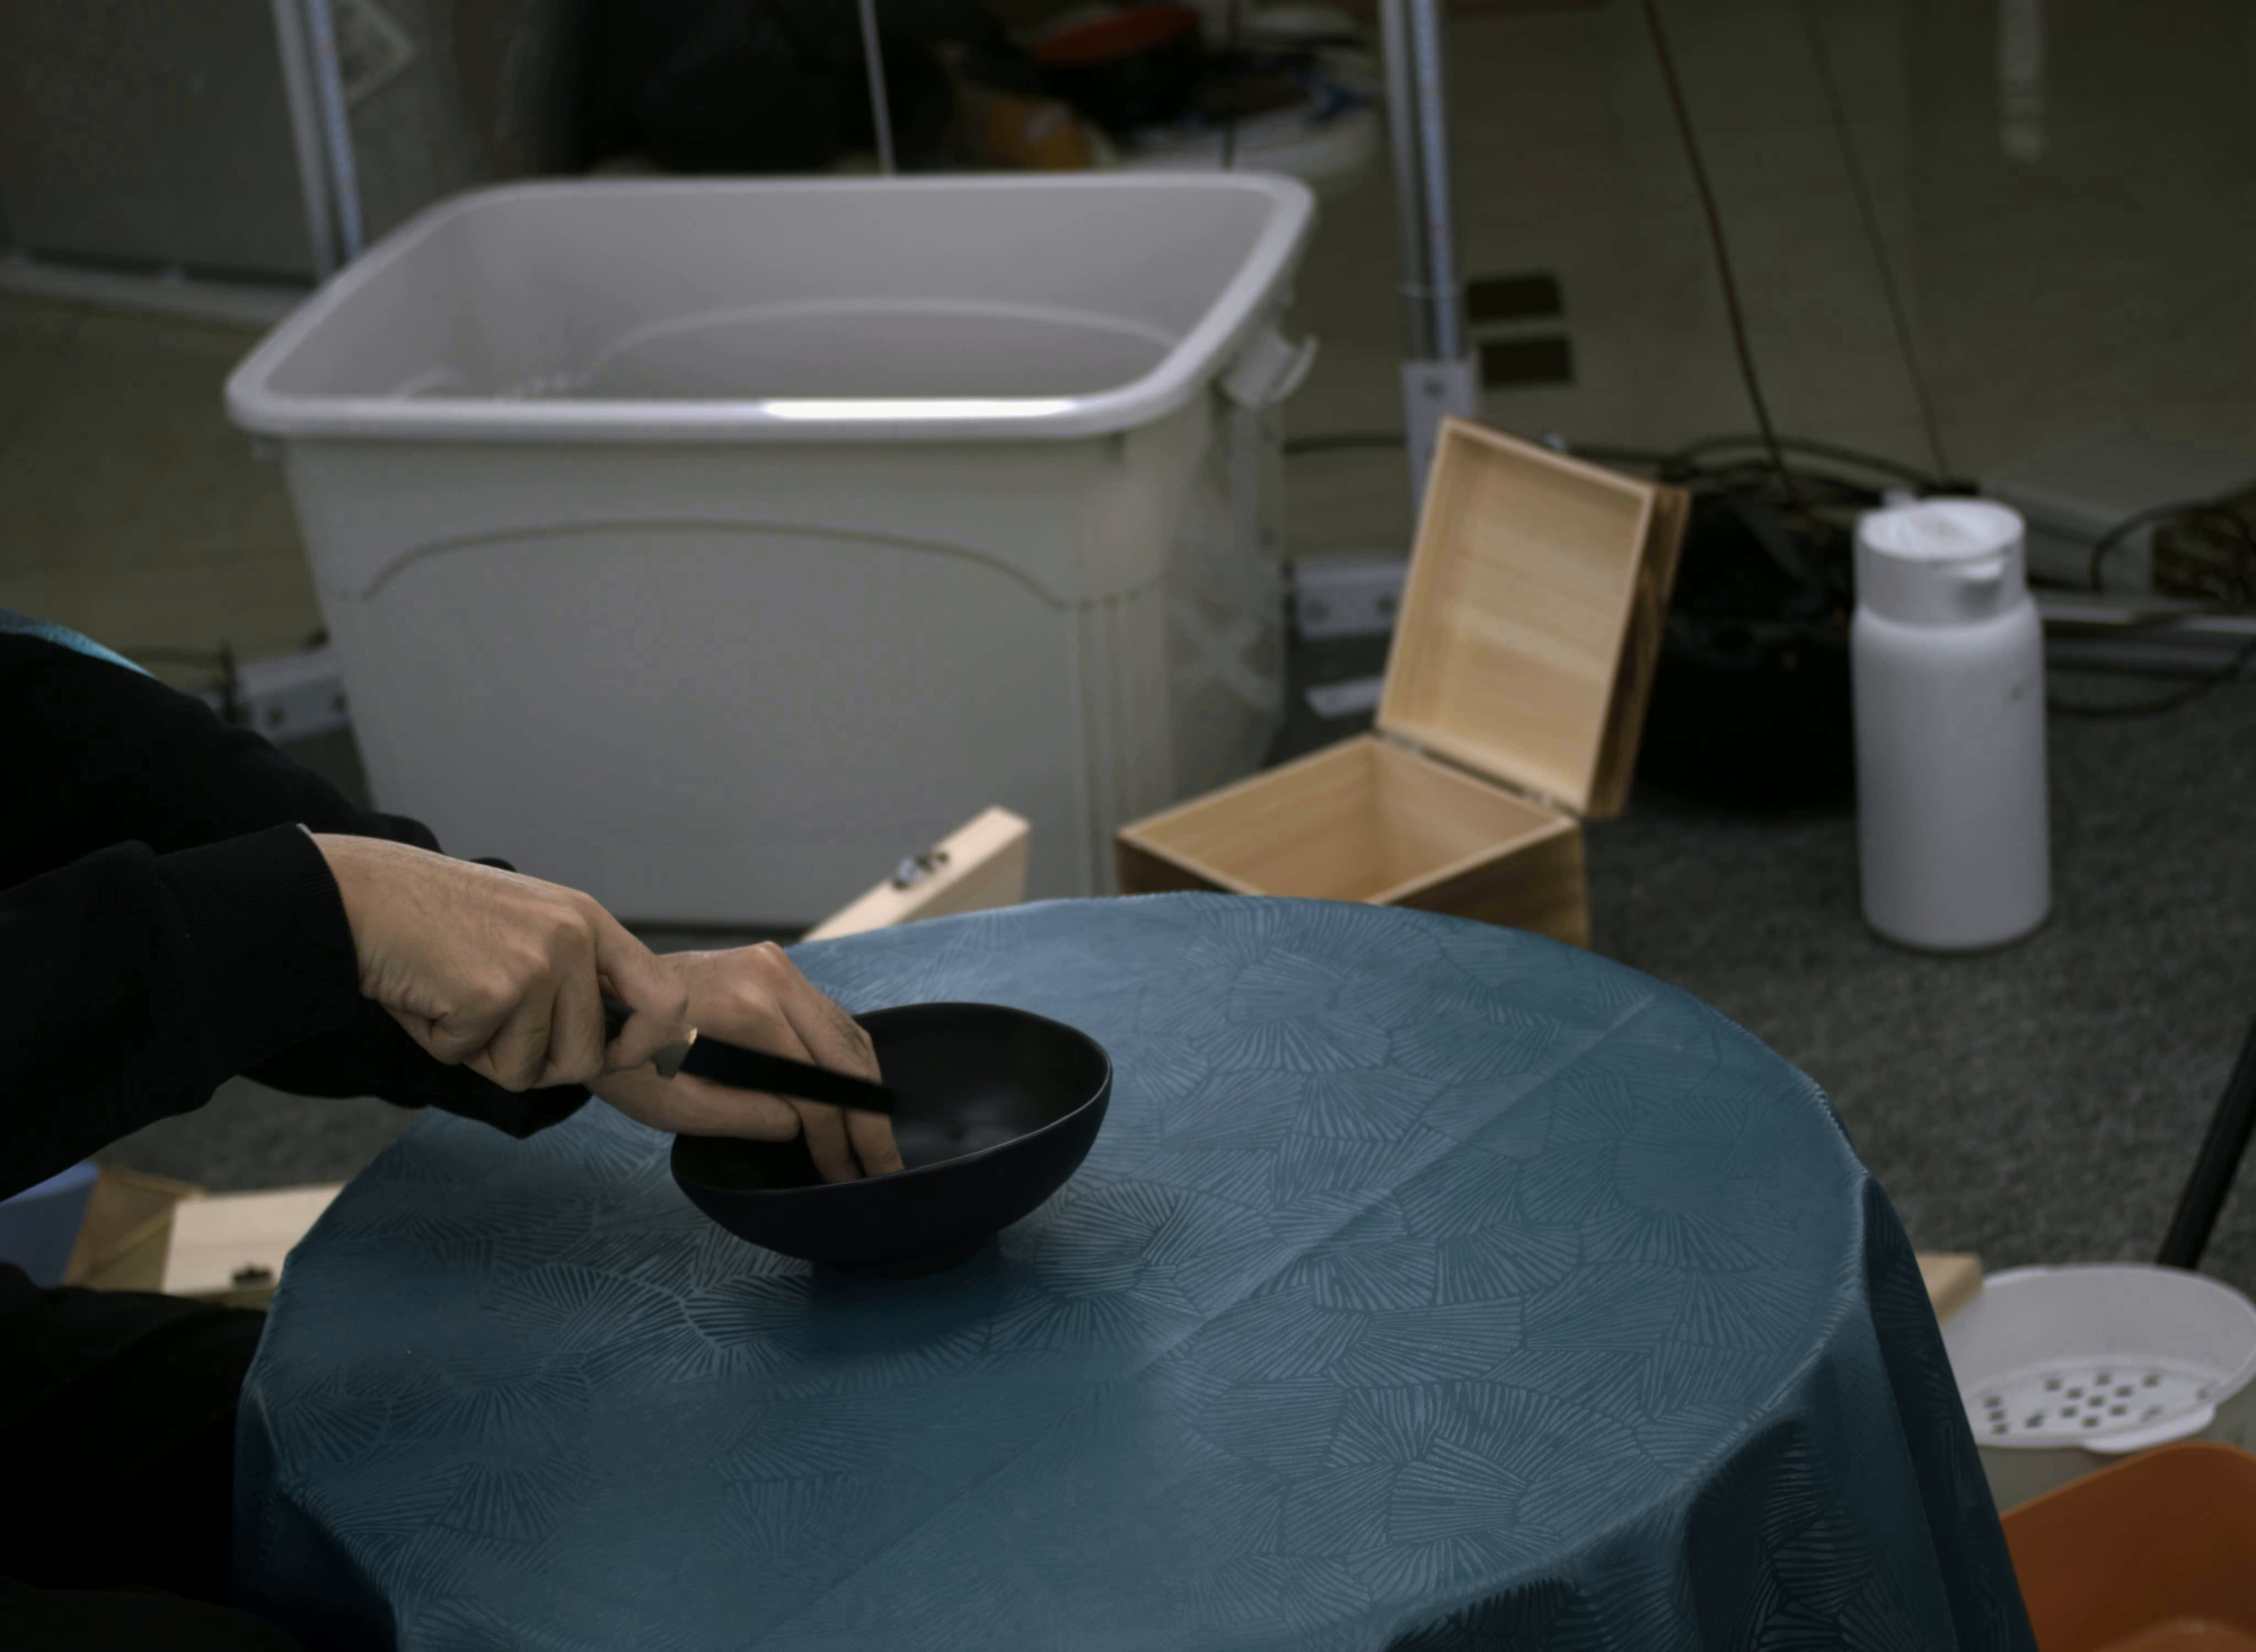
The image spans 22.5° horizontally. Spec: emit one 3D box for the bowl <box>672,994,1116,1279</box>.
[{"bbox_3d":[-0.084,0.126,2.118,0.170,0.068,0.135,-15,26,-12],"label":"bowl"}]

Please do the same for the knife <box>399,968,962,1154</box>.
[{"bbox_3d":[-0.160,0.086,2.058,0.226,0.026,0.017,17,46,-21],"label":"knife"}]
